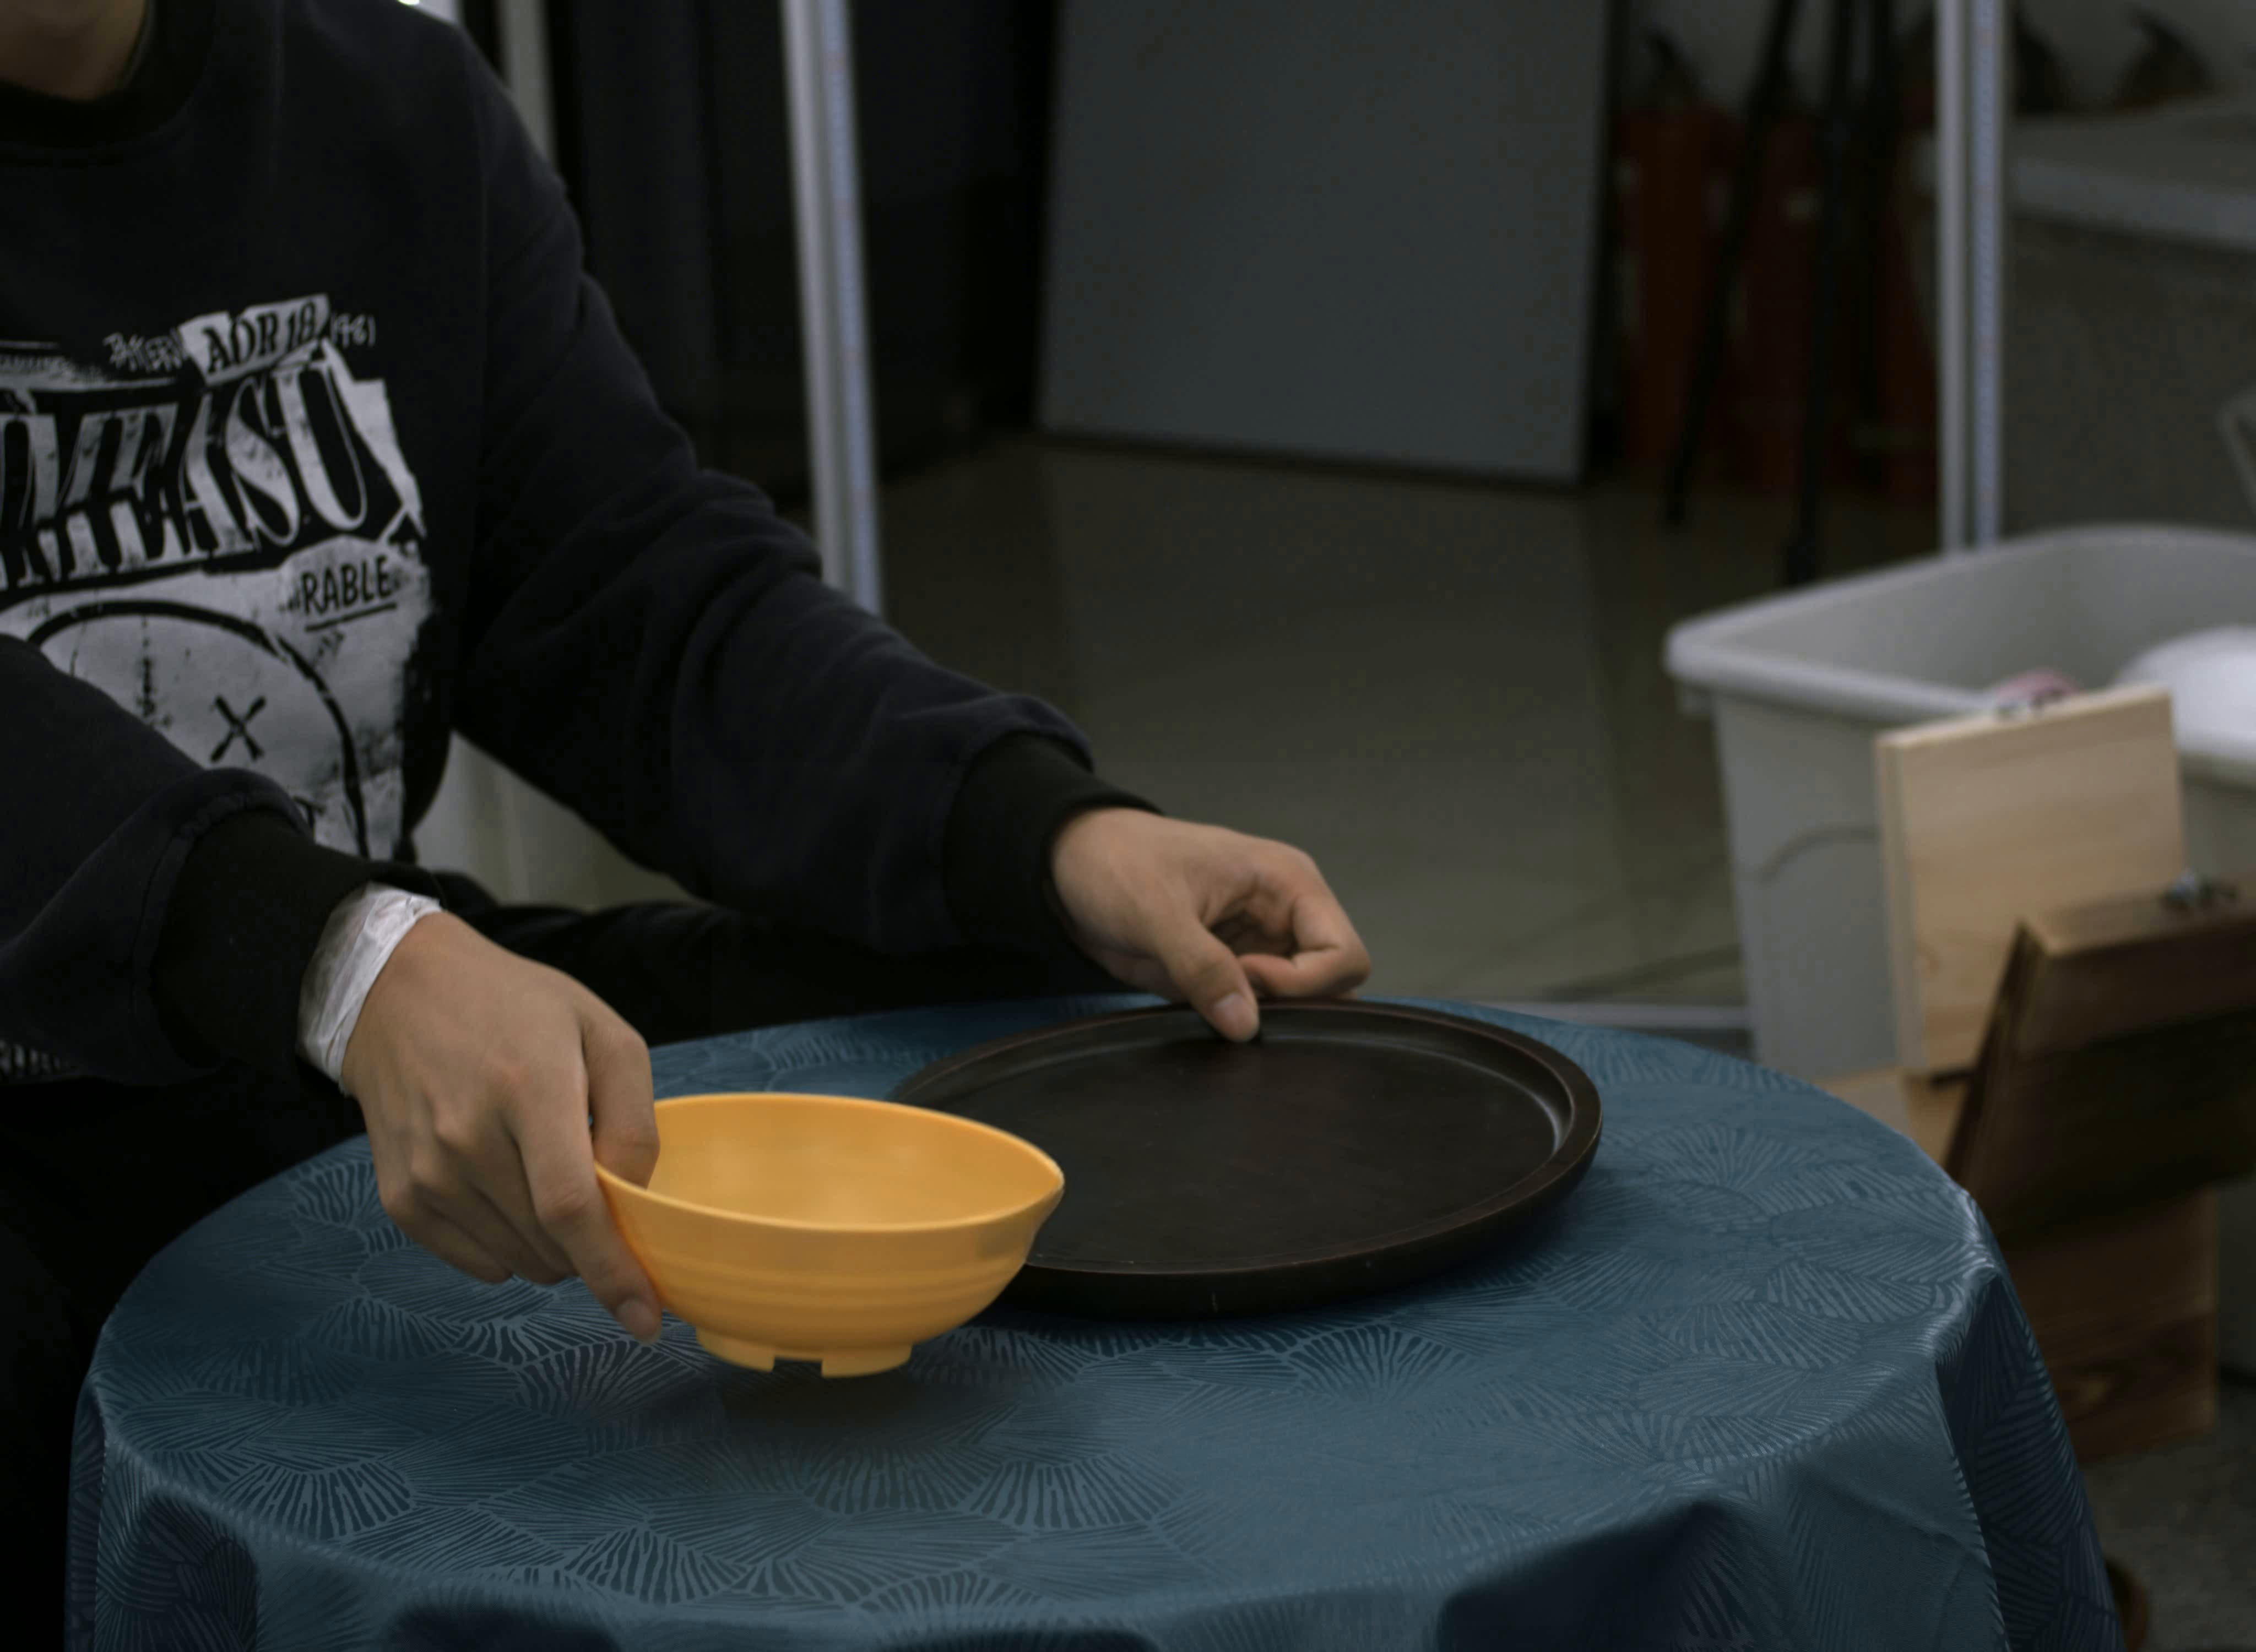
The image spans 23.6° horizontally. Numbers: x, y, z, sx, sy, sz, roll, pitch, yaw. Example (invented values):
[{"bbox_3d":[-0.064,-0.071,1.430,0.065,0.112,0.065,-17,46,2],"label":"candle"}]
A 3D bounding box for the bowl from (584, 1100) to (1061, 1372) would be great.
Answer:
[{"bbox_3d":[-0.092,0.125,1.600,0.143,0.061,0.145,4,9,-2],"label":"bowl"}]

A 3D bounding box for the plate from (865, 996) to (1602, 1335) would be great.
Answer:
[{"bbox_3d":[0.030,0.107,1.748,0.252,0.029,0.255,-7,17,1],"label":"plate"}]
